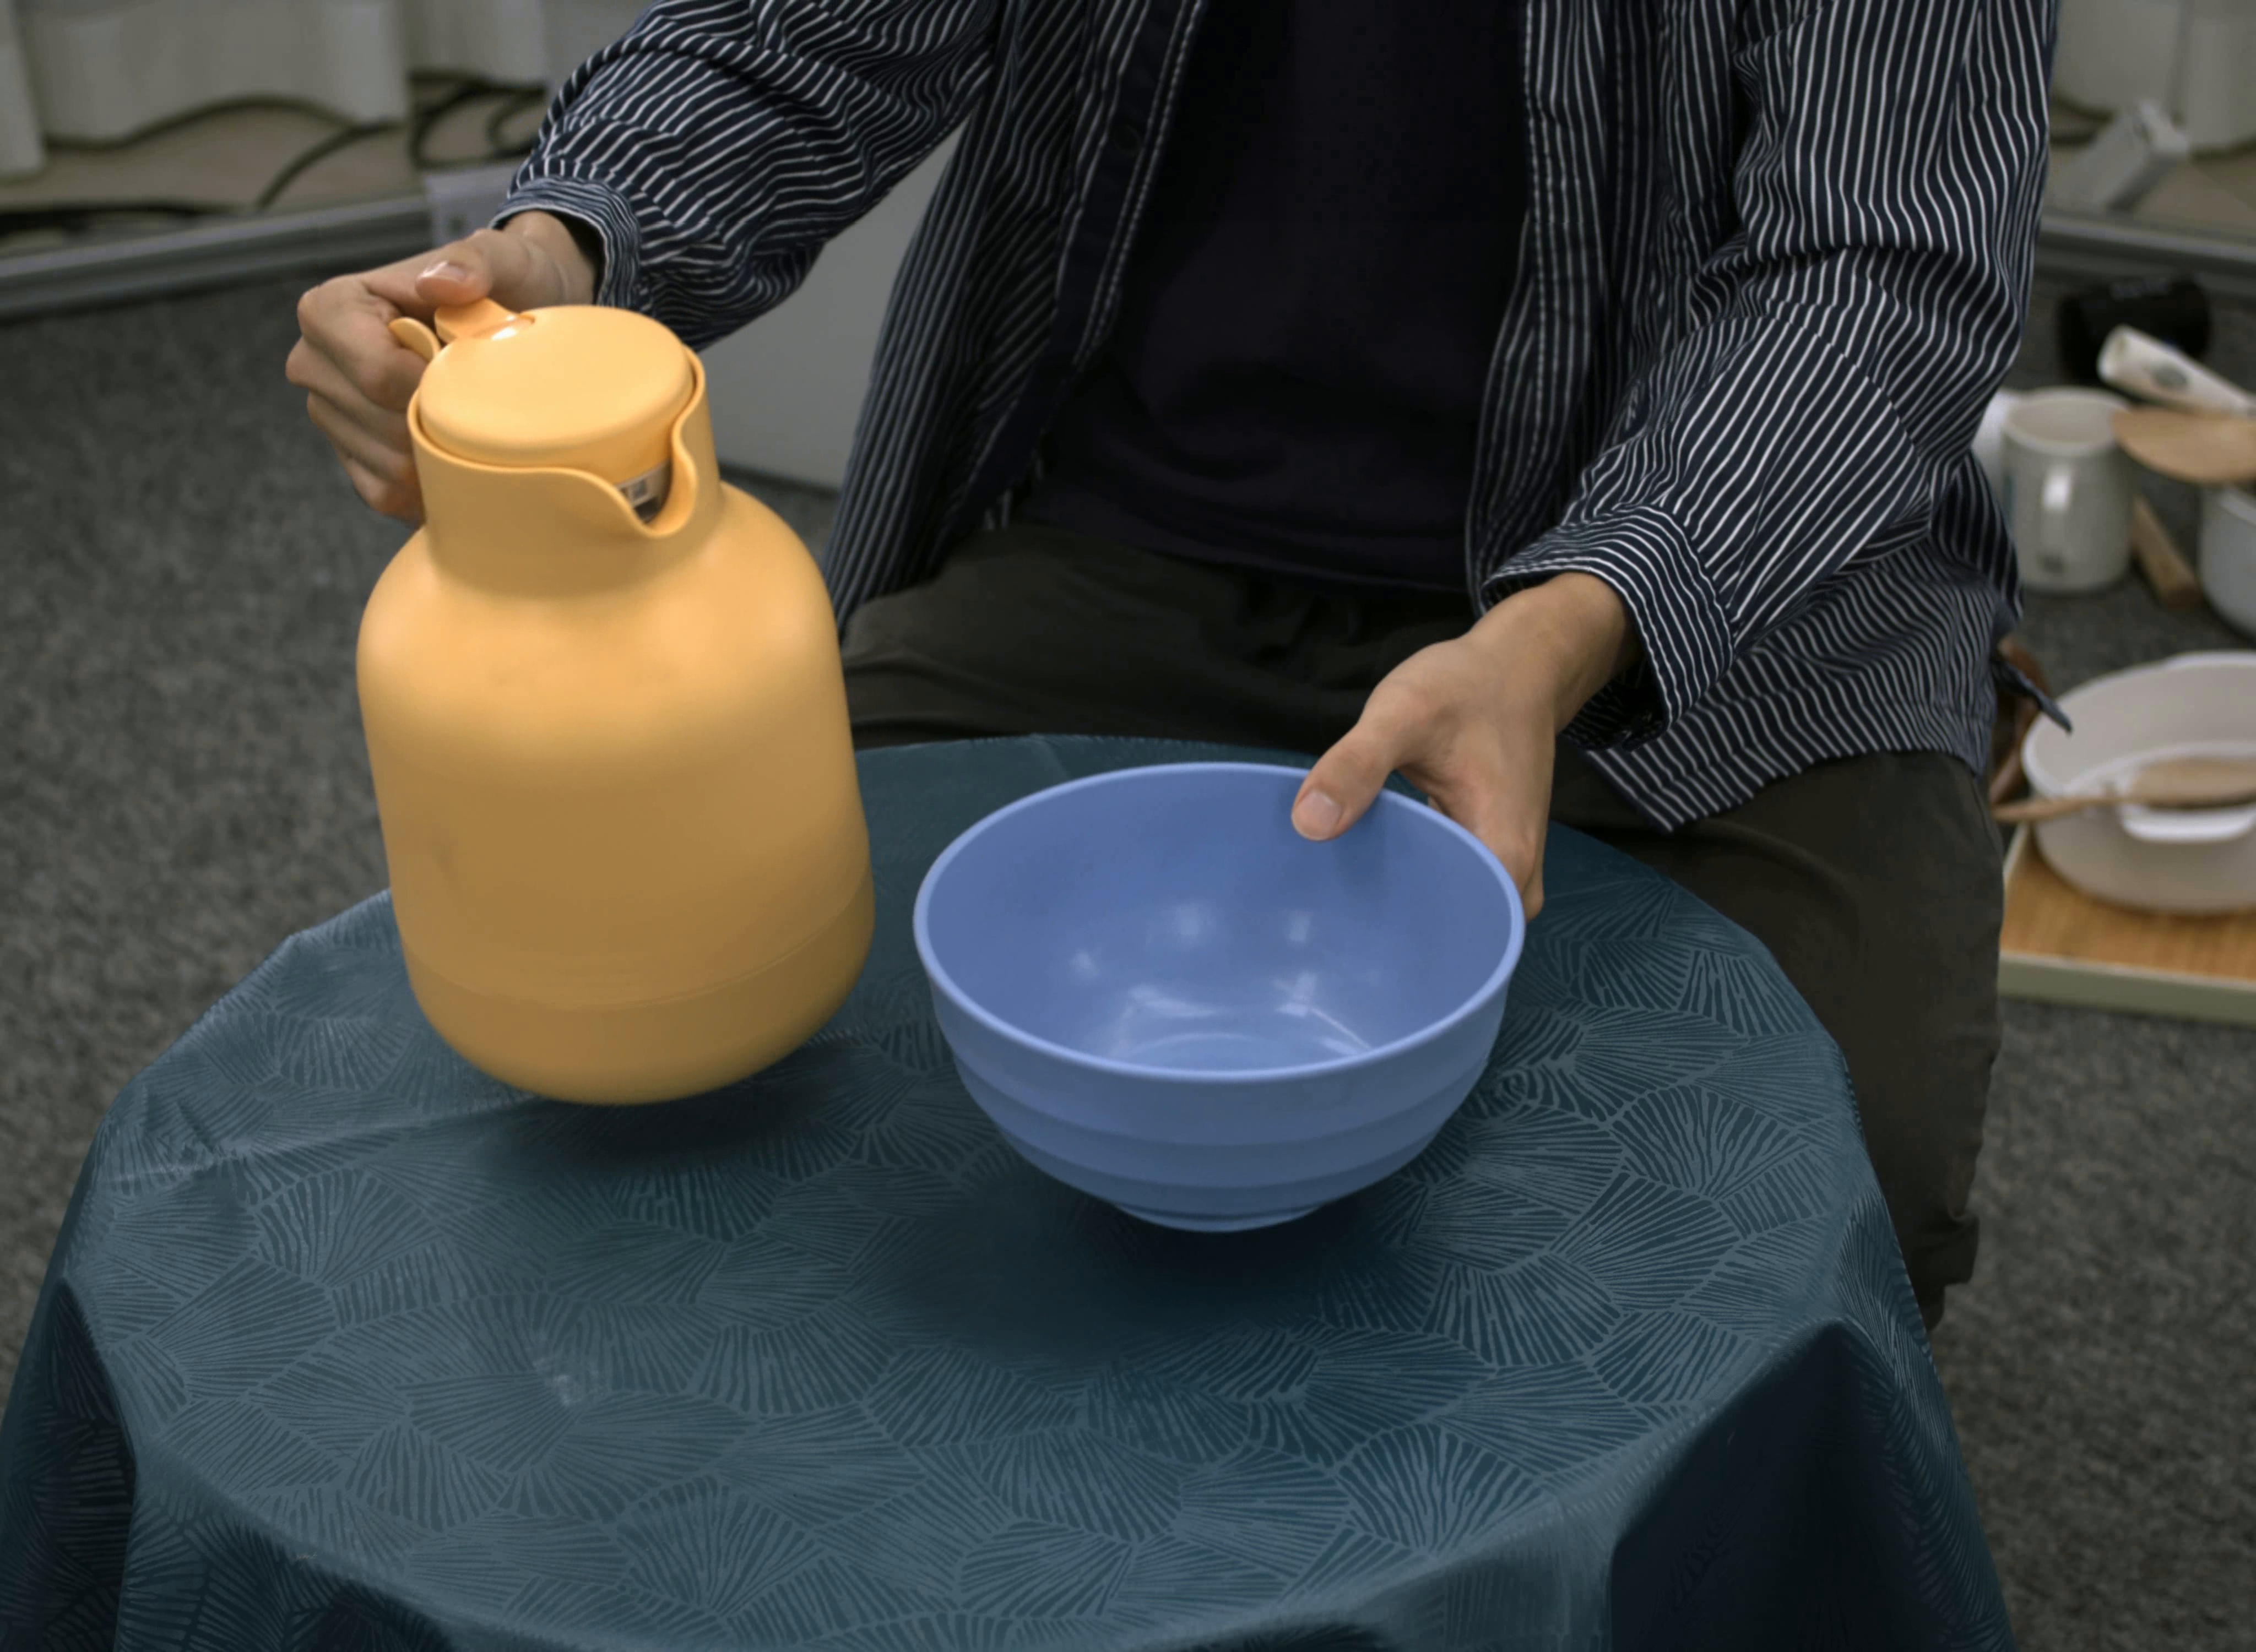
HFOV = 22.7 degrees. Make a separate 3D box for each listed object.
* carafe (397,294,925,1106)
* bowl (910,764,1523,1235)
[{"bbox_3d":[-0.169,-0.054,1.880,0.165,0.257,0.203,-24,37,-25],"label":"carafe"},{"bbox_3d":[0.029,0.068,1.815,0.195,0.094,0.199,0,29,1],"label":"bowl"}]
